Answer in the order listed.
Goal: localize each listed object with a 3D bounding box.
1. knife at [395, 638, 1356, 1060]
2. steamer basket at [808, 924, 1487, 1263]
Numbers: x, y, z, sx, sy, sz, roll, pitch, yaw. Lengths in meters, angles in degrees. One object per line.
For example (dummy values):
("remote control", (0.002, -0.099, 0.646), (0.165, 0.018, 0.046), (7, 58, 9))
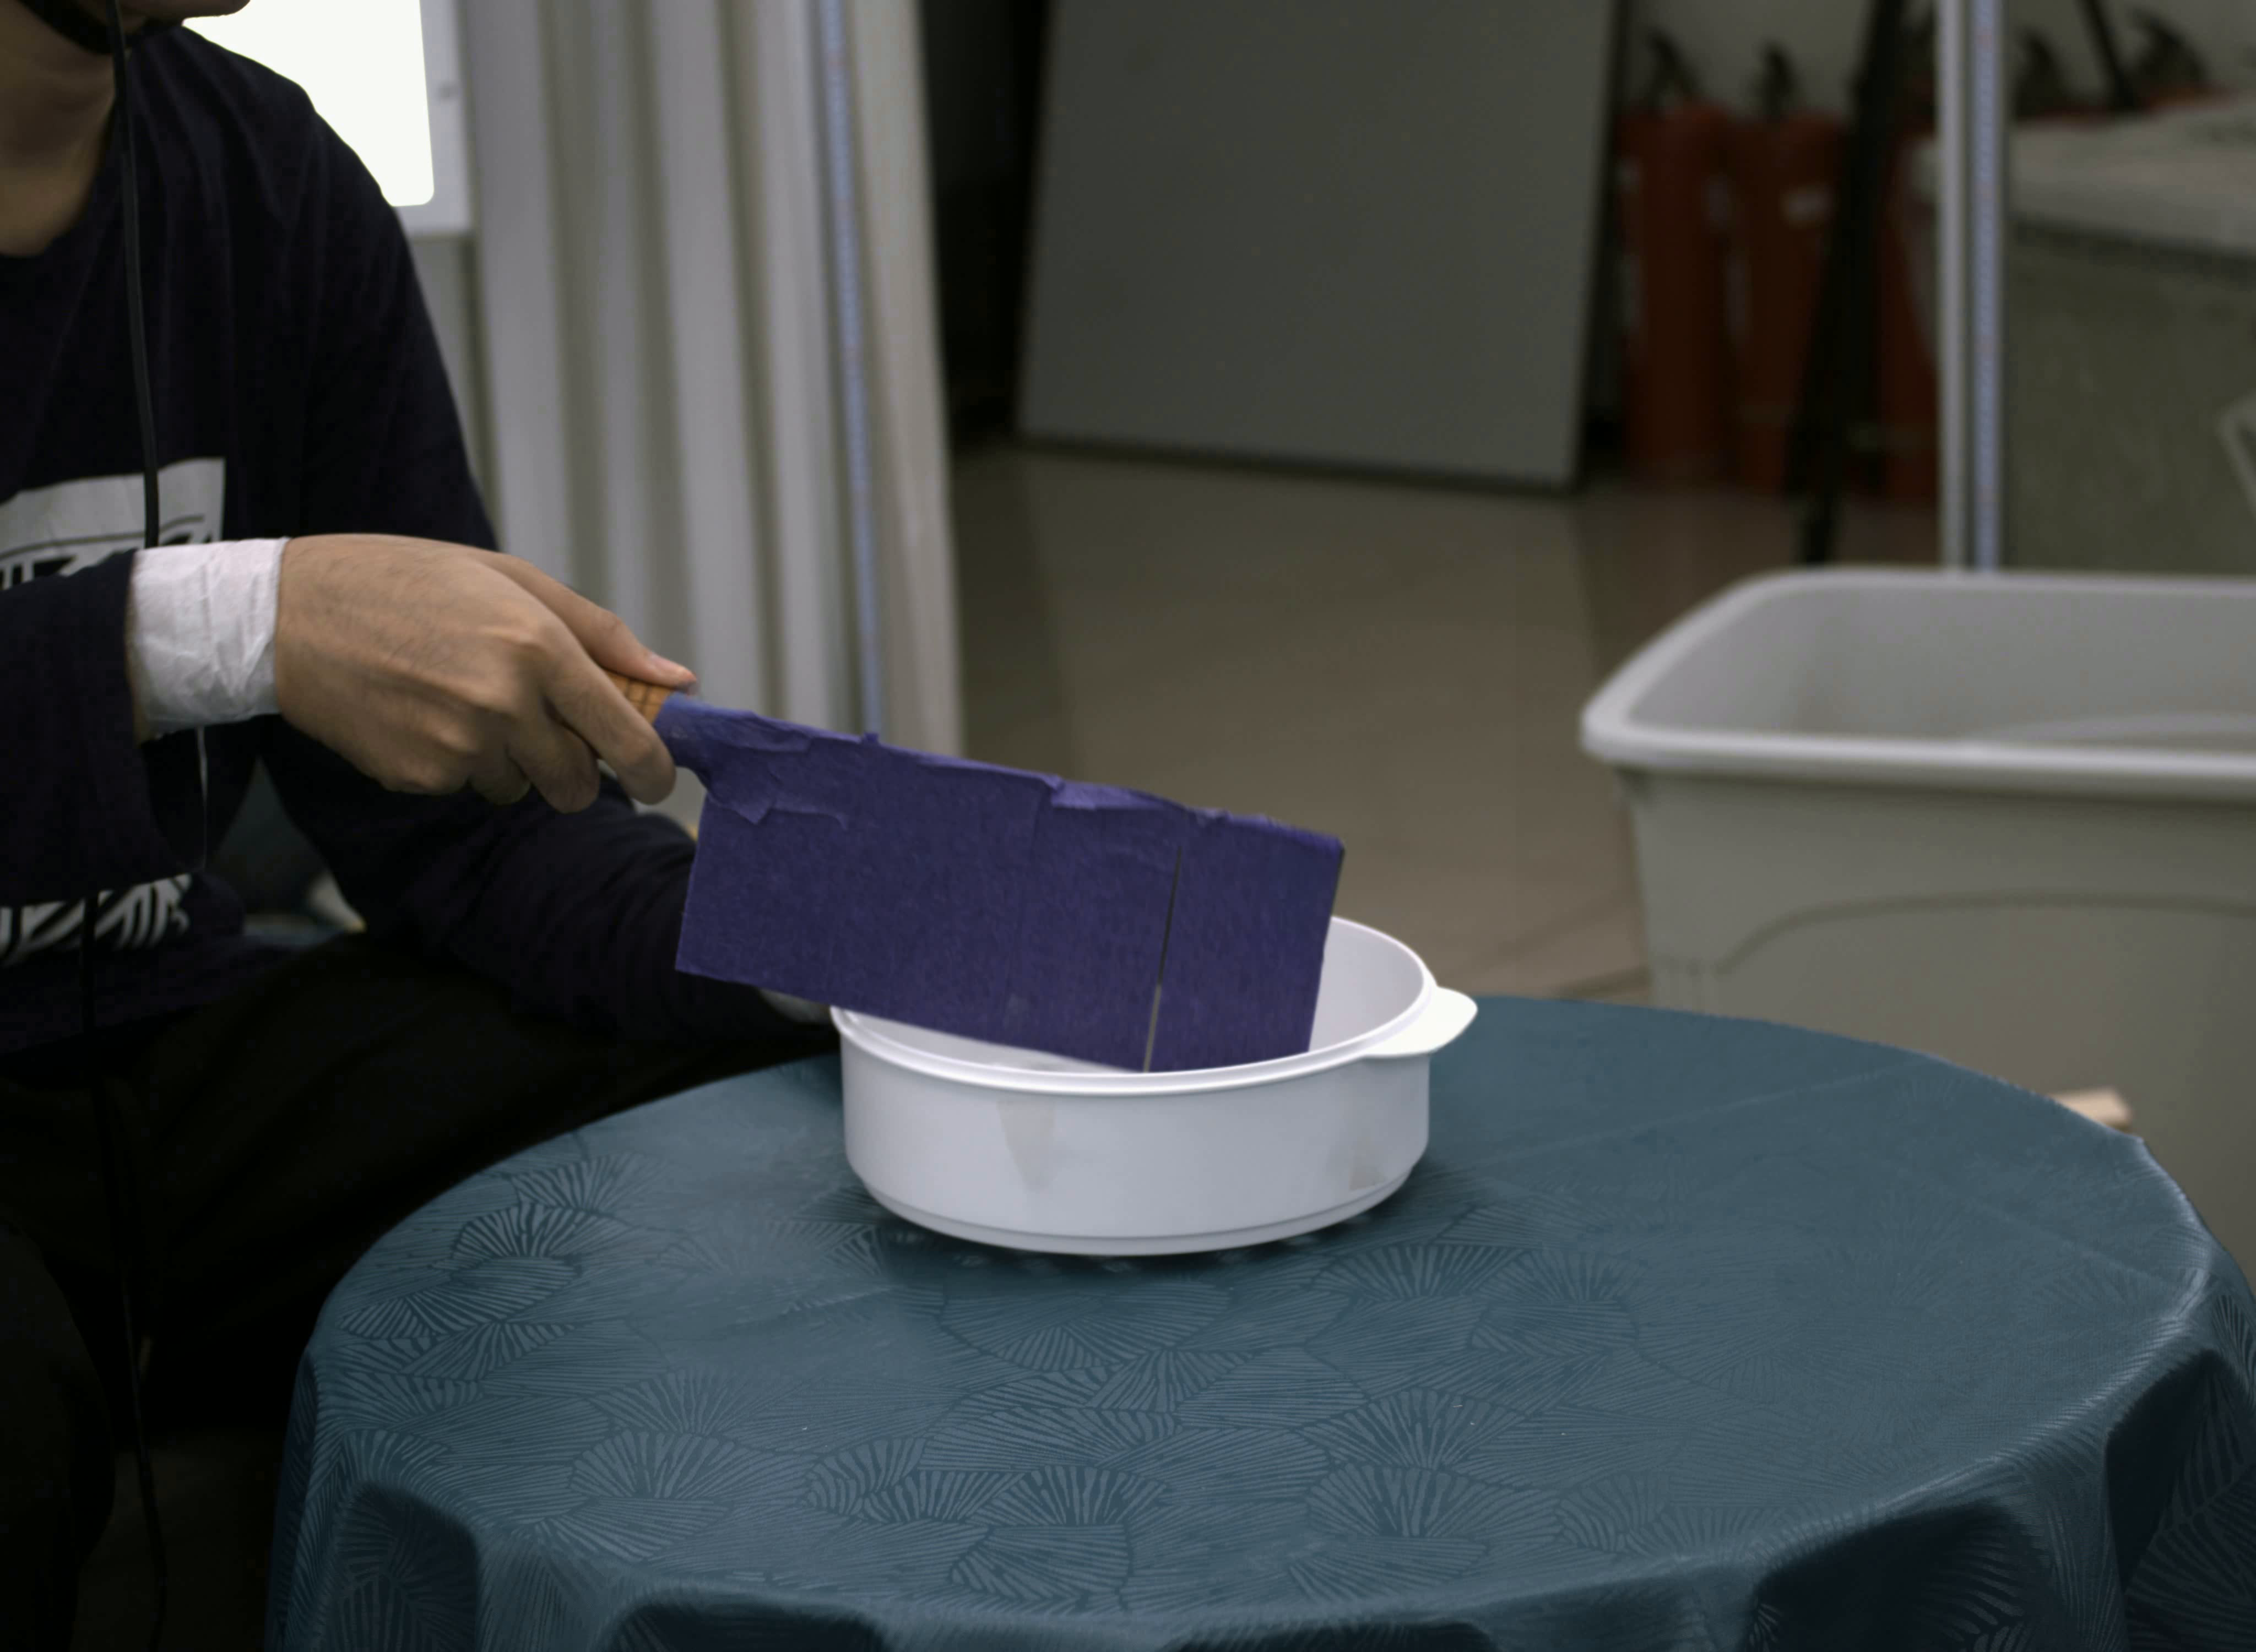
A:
("knife", (-0.086, 0.015, 1.720), (0.313, 0.105, 0.032), (12, 12, 8))
("steamer basket", (0.007, 0.086, 1.768), (0.230, 0.070, 0.199), (1, 14, 23))
